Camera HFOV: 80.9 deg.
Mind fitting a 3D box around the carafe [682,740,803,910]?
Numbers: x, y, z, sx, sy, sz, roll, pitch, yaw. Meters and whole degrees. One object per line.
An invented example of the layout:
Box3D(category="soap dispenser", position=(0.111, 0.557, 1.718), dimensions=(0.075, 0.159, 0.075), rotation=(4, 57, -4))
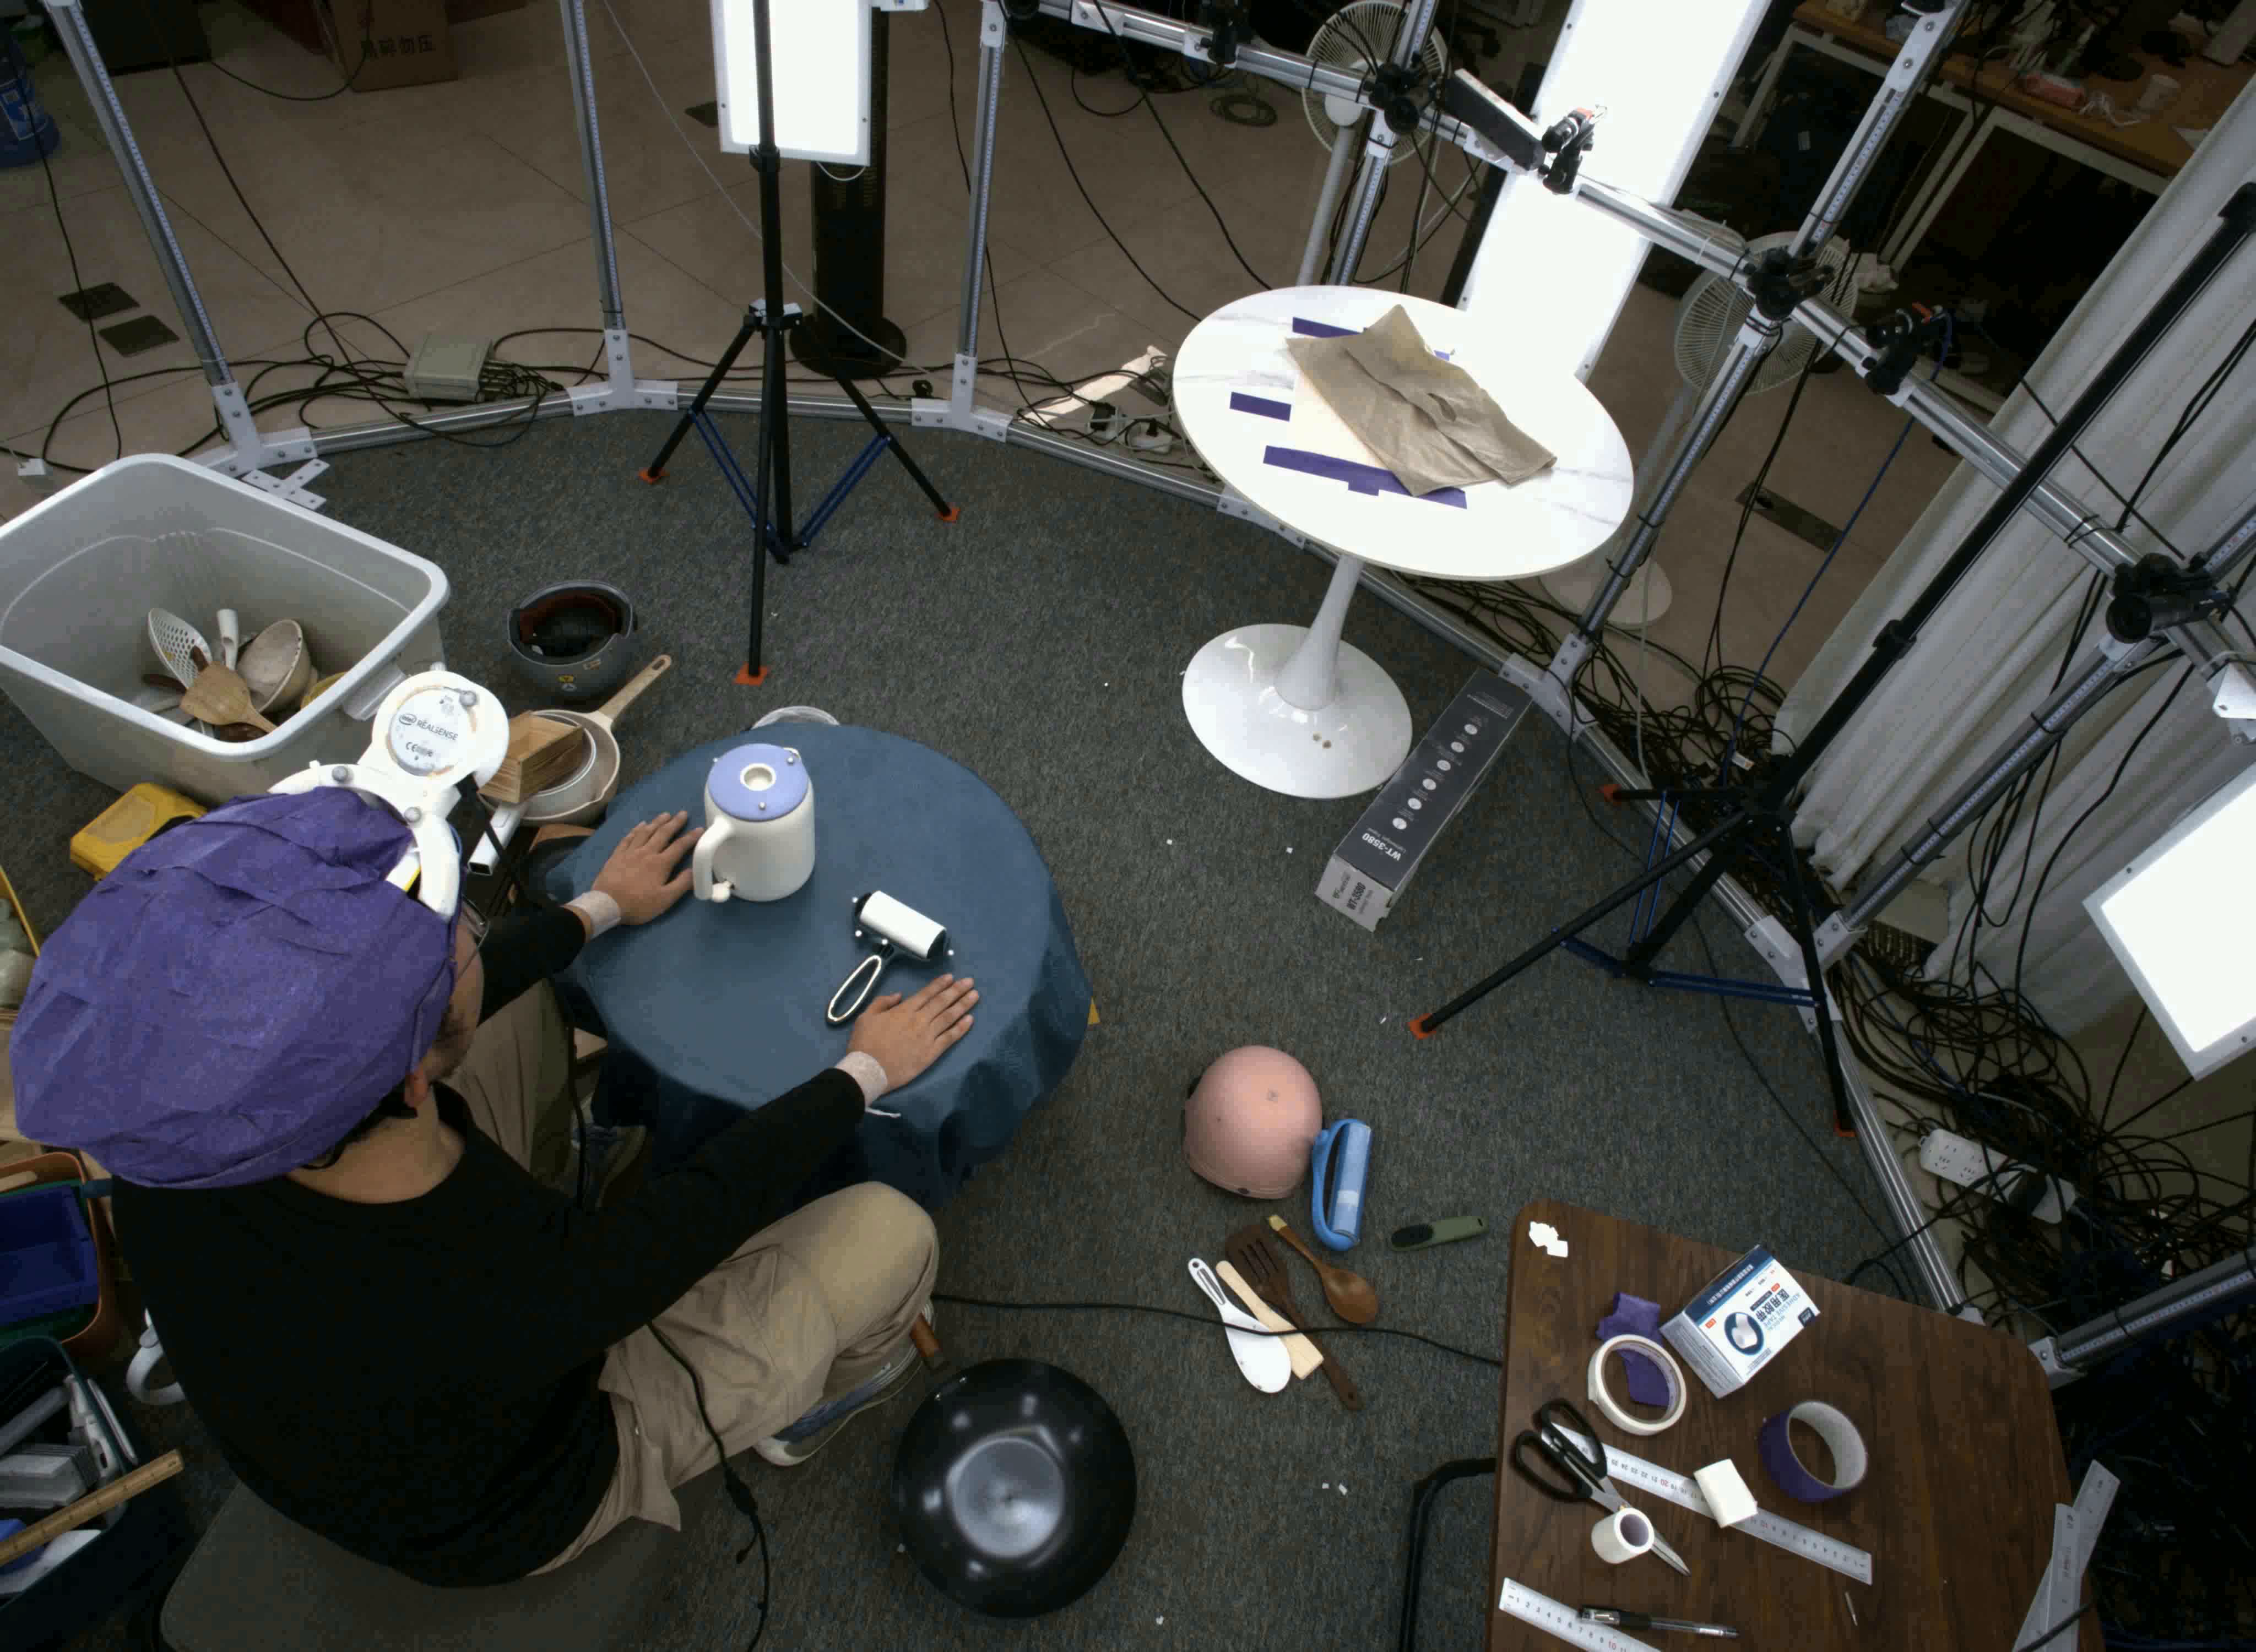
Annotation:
Box3D(category="carafe", position=(-0.483, 0.012, 1.583), dimensions=(0.130, 0.186, 0.190), rotation=(27, 54, 10))

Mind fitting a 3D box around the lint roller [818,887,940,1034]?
Box3D(category="lint roller", position=(-0.326, 0.170, 1.590), dimensions=(0.132, 0.049, 0.179), rotation=(27, 54, 7))
